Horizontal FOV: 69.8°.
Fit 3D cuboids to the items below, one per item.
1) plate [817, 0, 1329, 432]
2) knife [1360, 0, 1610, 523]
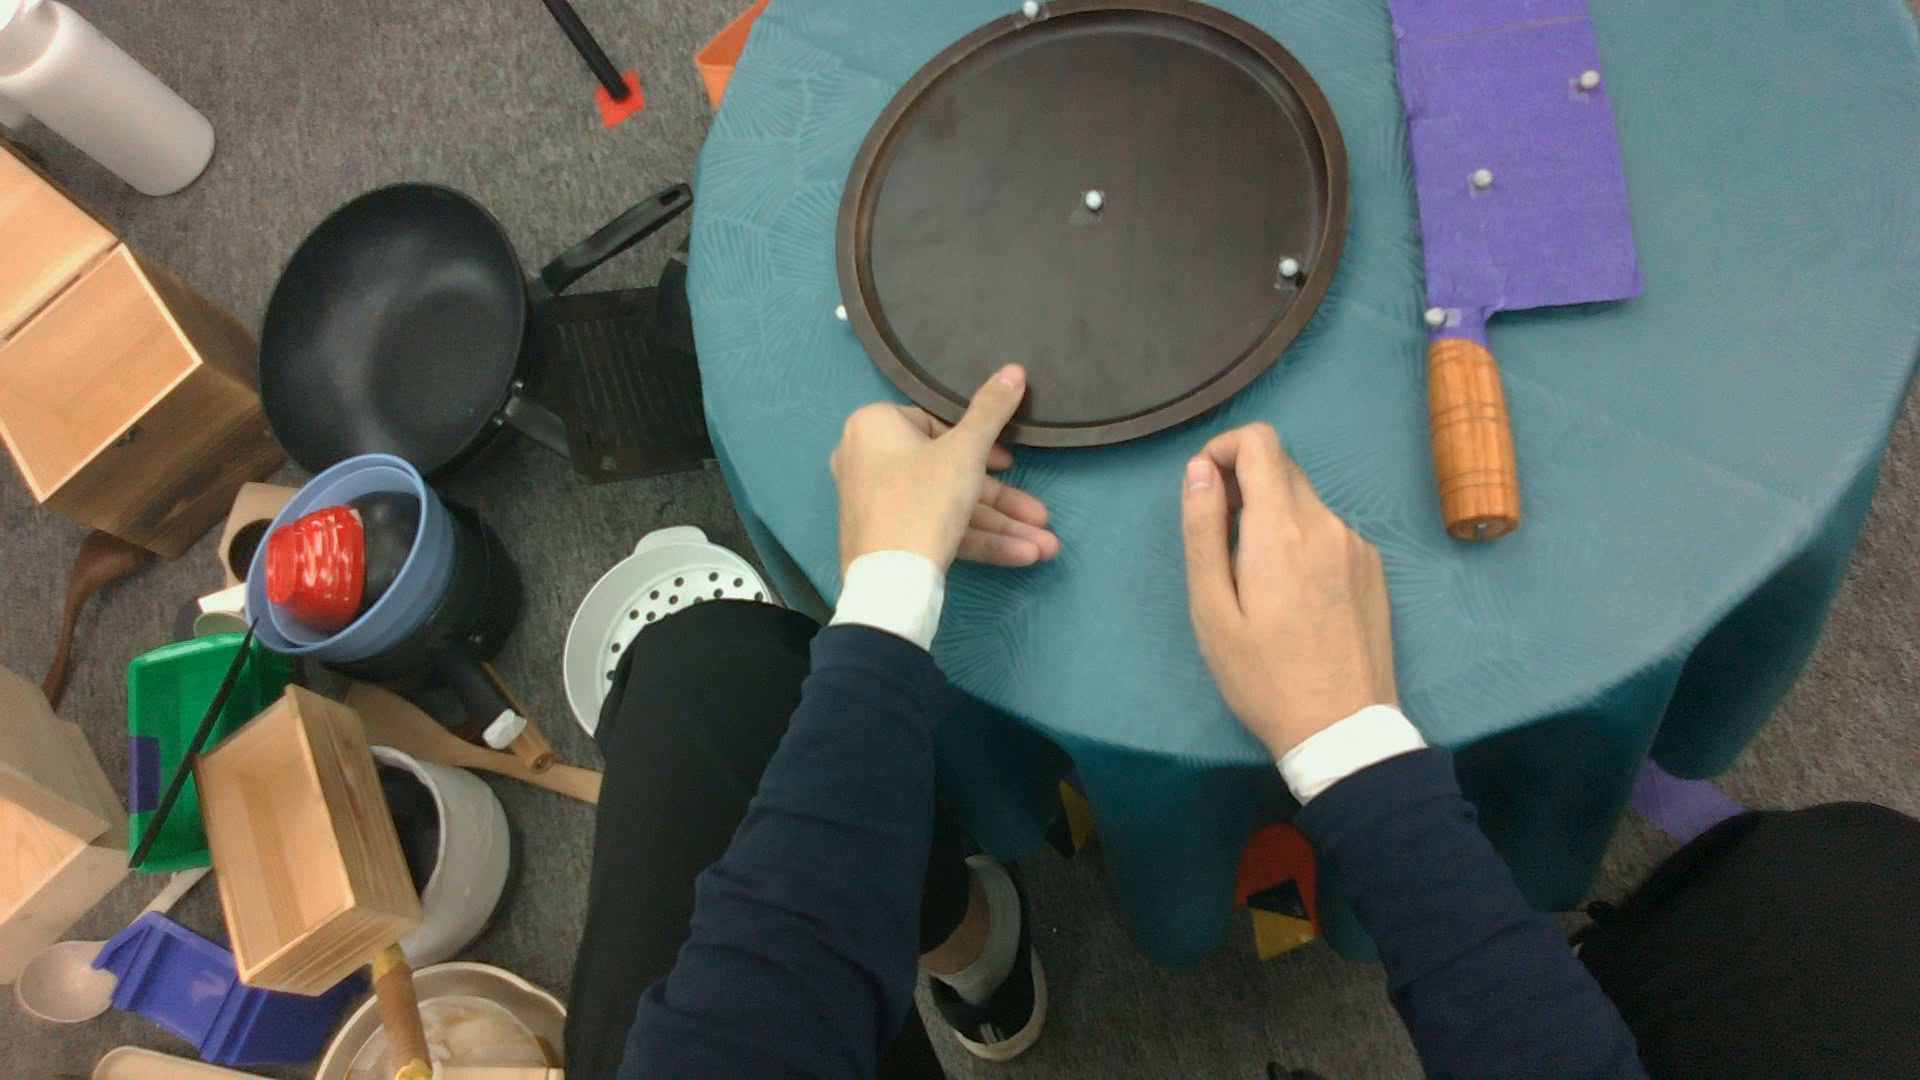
[{"bbox_3d":[0.052,-0.169,0.682,0.254,0.029,0.255,-4,70,12],"label":"plate"},{"bbox_3d":[0.244,-0.162,0.634,0.104,0.032,0.316,-5,70,11],"label":"knife"}]
